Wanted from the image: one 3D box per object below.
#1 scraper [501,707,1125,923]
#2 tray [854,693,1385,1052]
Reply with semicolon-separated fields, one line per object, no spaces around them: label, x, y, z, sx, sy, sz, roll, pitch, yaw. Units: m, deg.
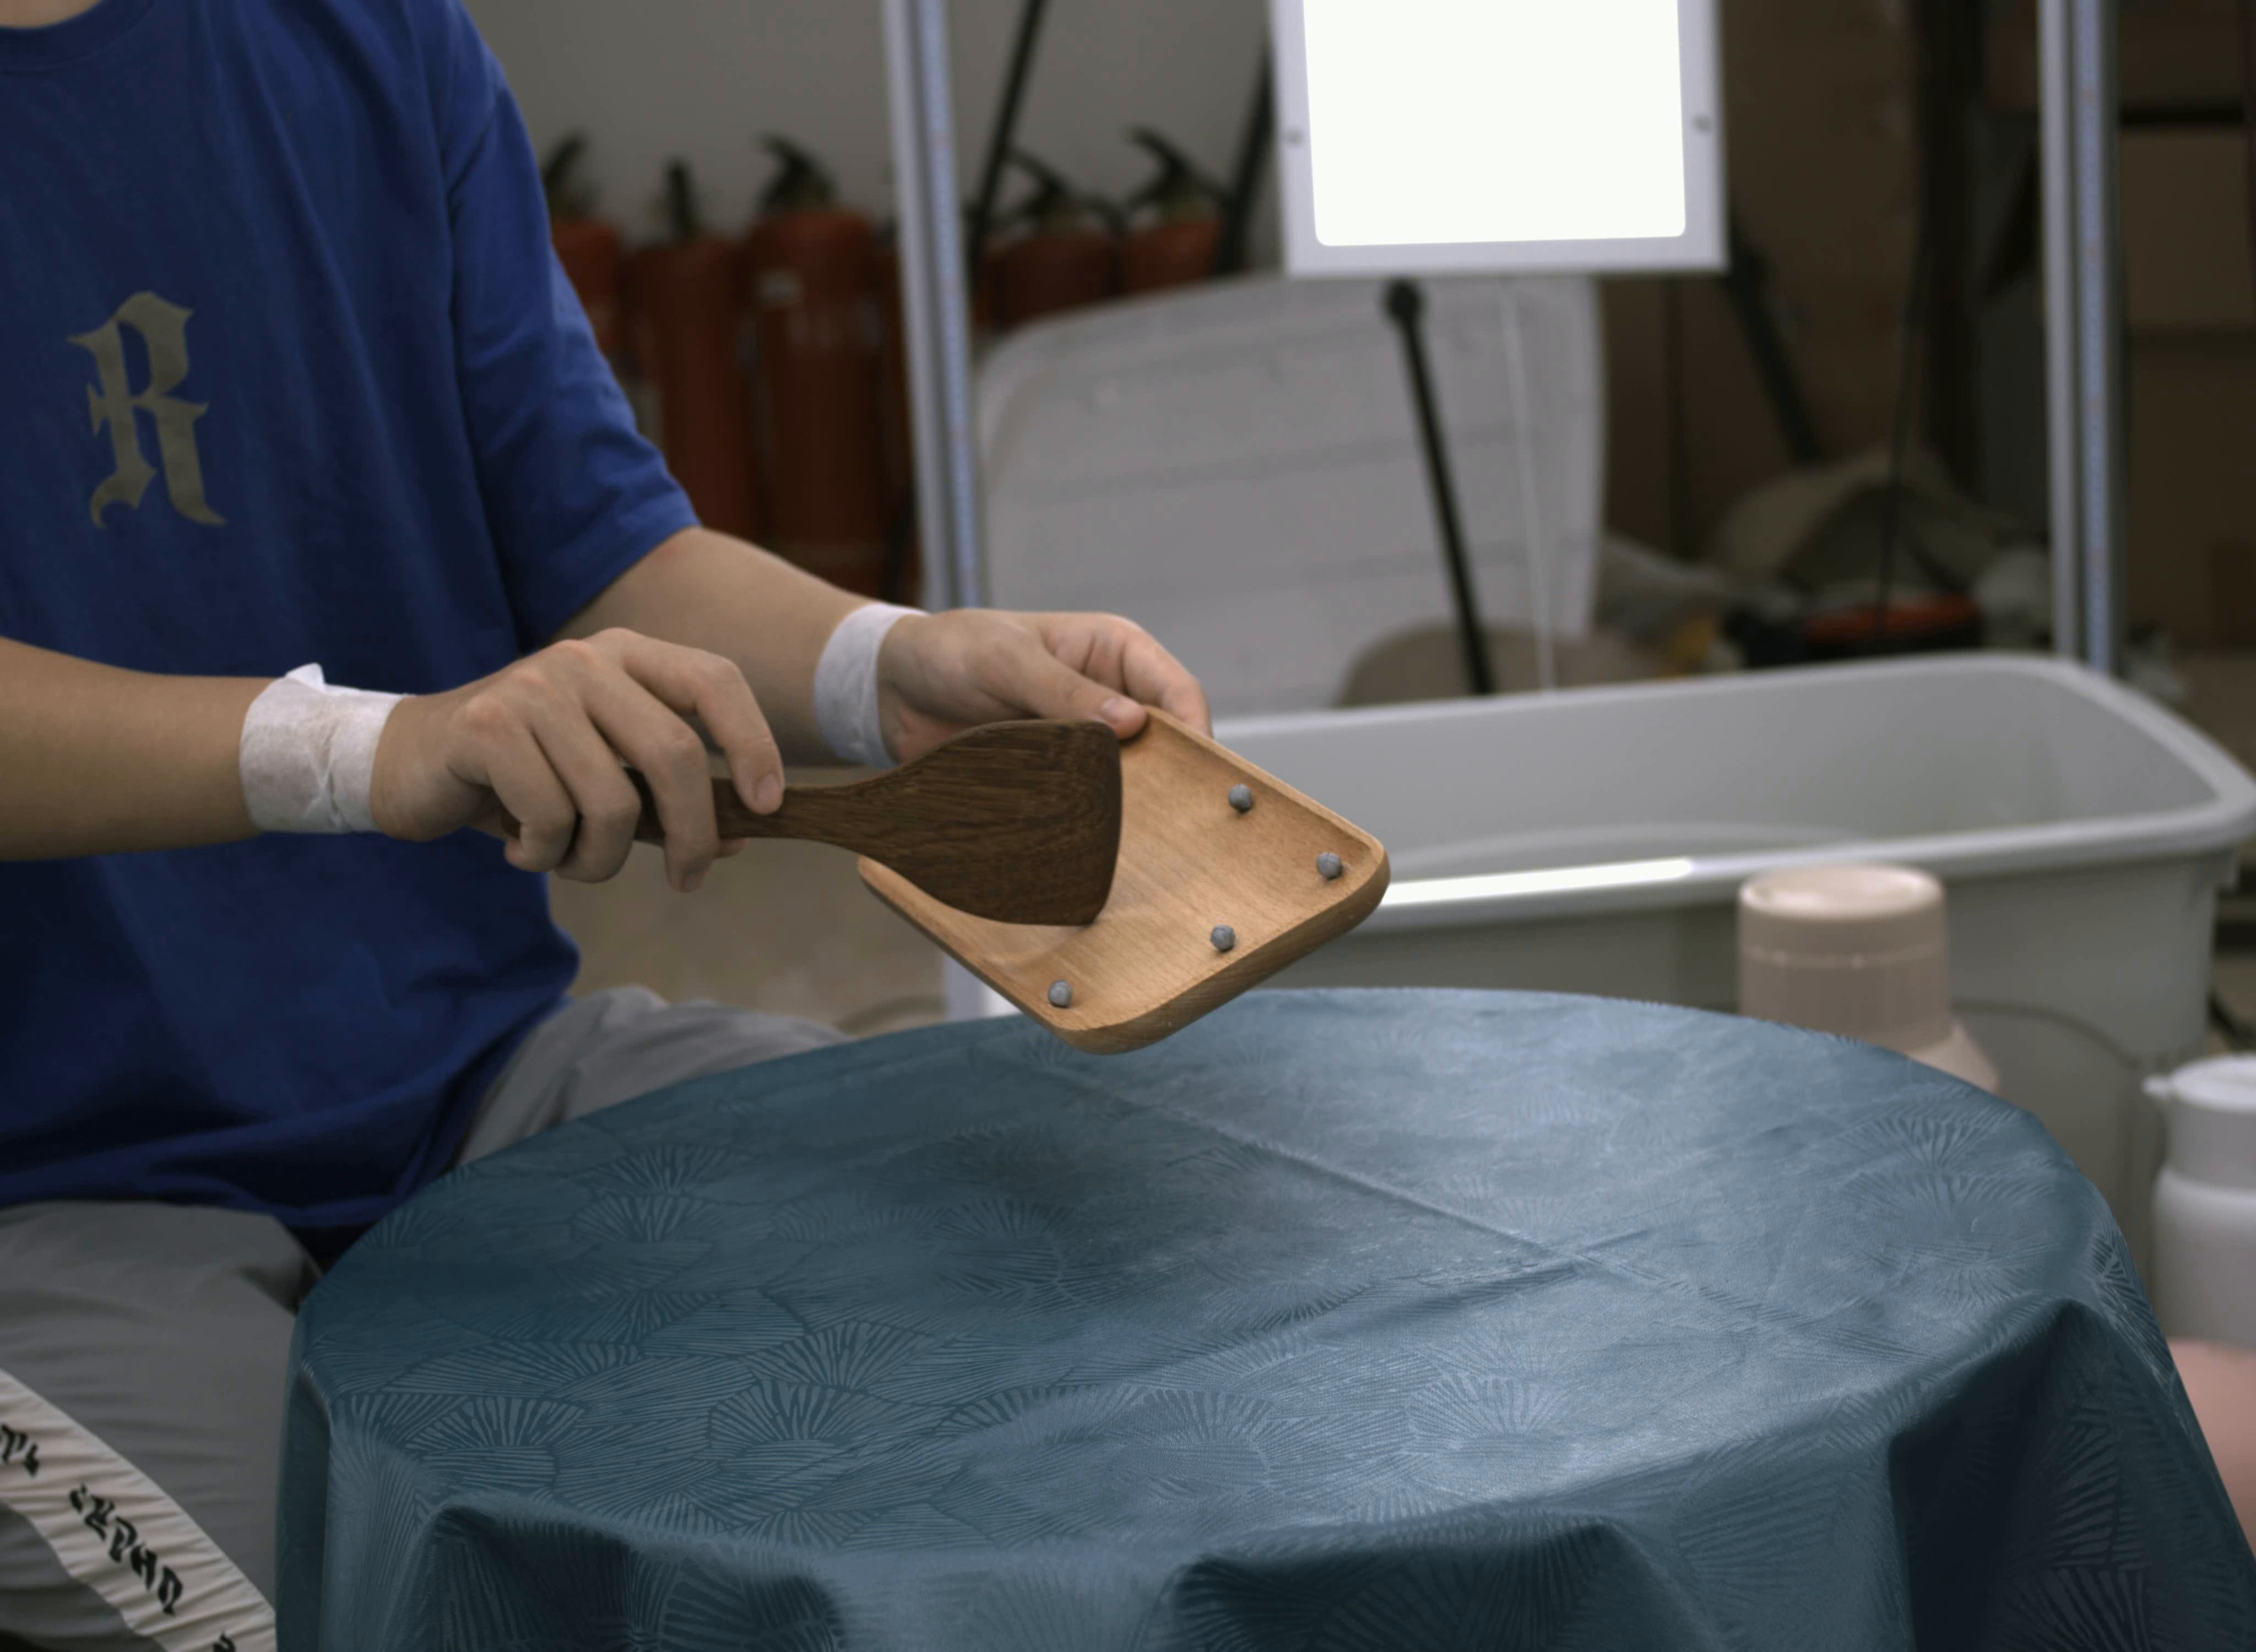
scraper;-0.106;-0.005;1.857;0.211;0.076;0.011;1;19;2
tray;-0.006;0.014;1.898;0.129;0.023;0.254;-28;22;-11
